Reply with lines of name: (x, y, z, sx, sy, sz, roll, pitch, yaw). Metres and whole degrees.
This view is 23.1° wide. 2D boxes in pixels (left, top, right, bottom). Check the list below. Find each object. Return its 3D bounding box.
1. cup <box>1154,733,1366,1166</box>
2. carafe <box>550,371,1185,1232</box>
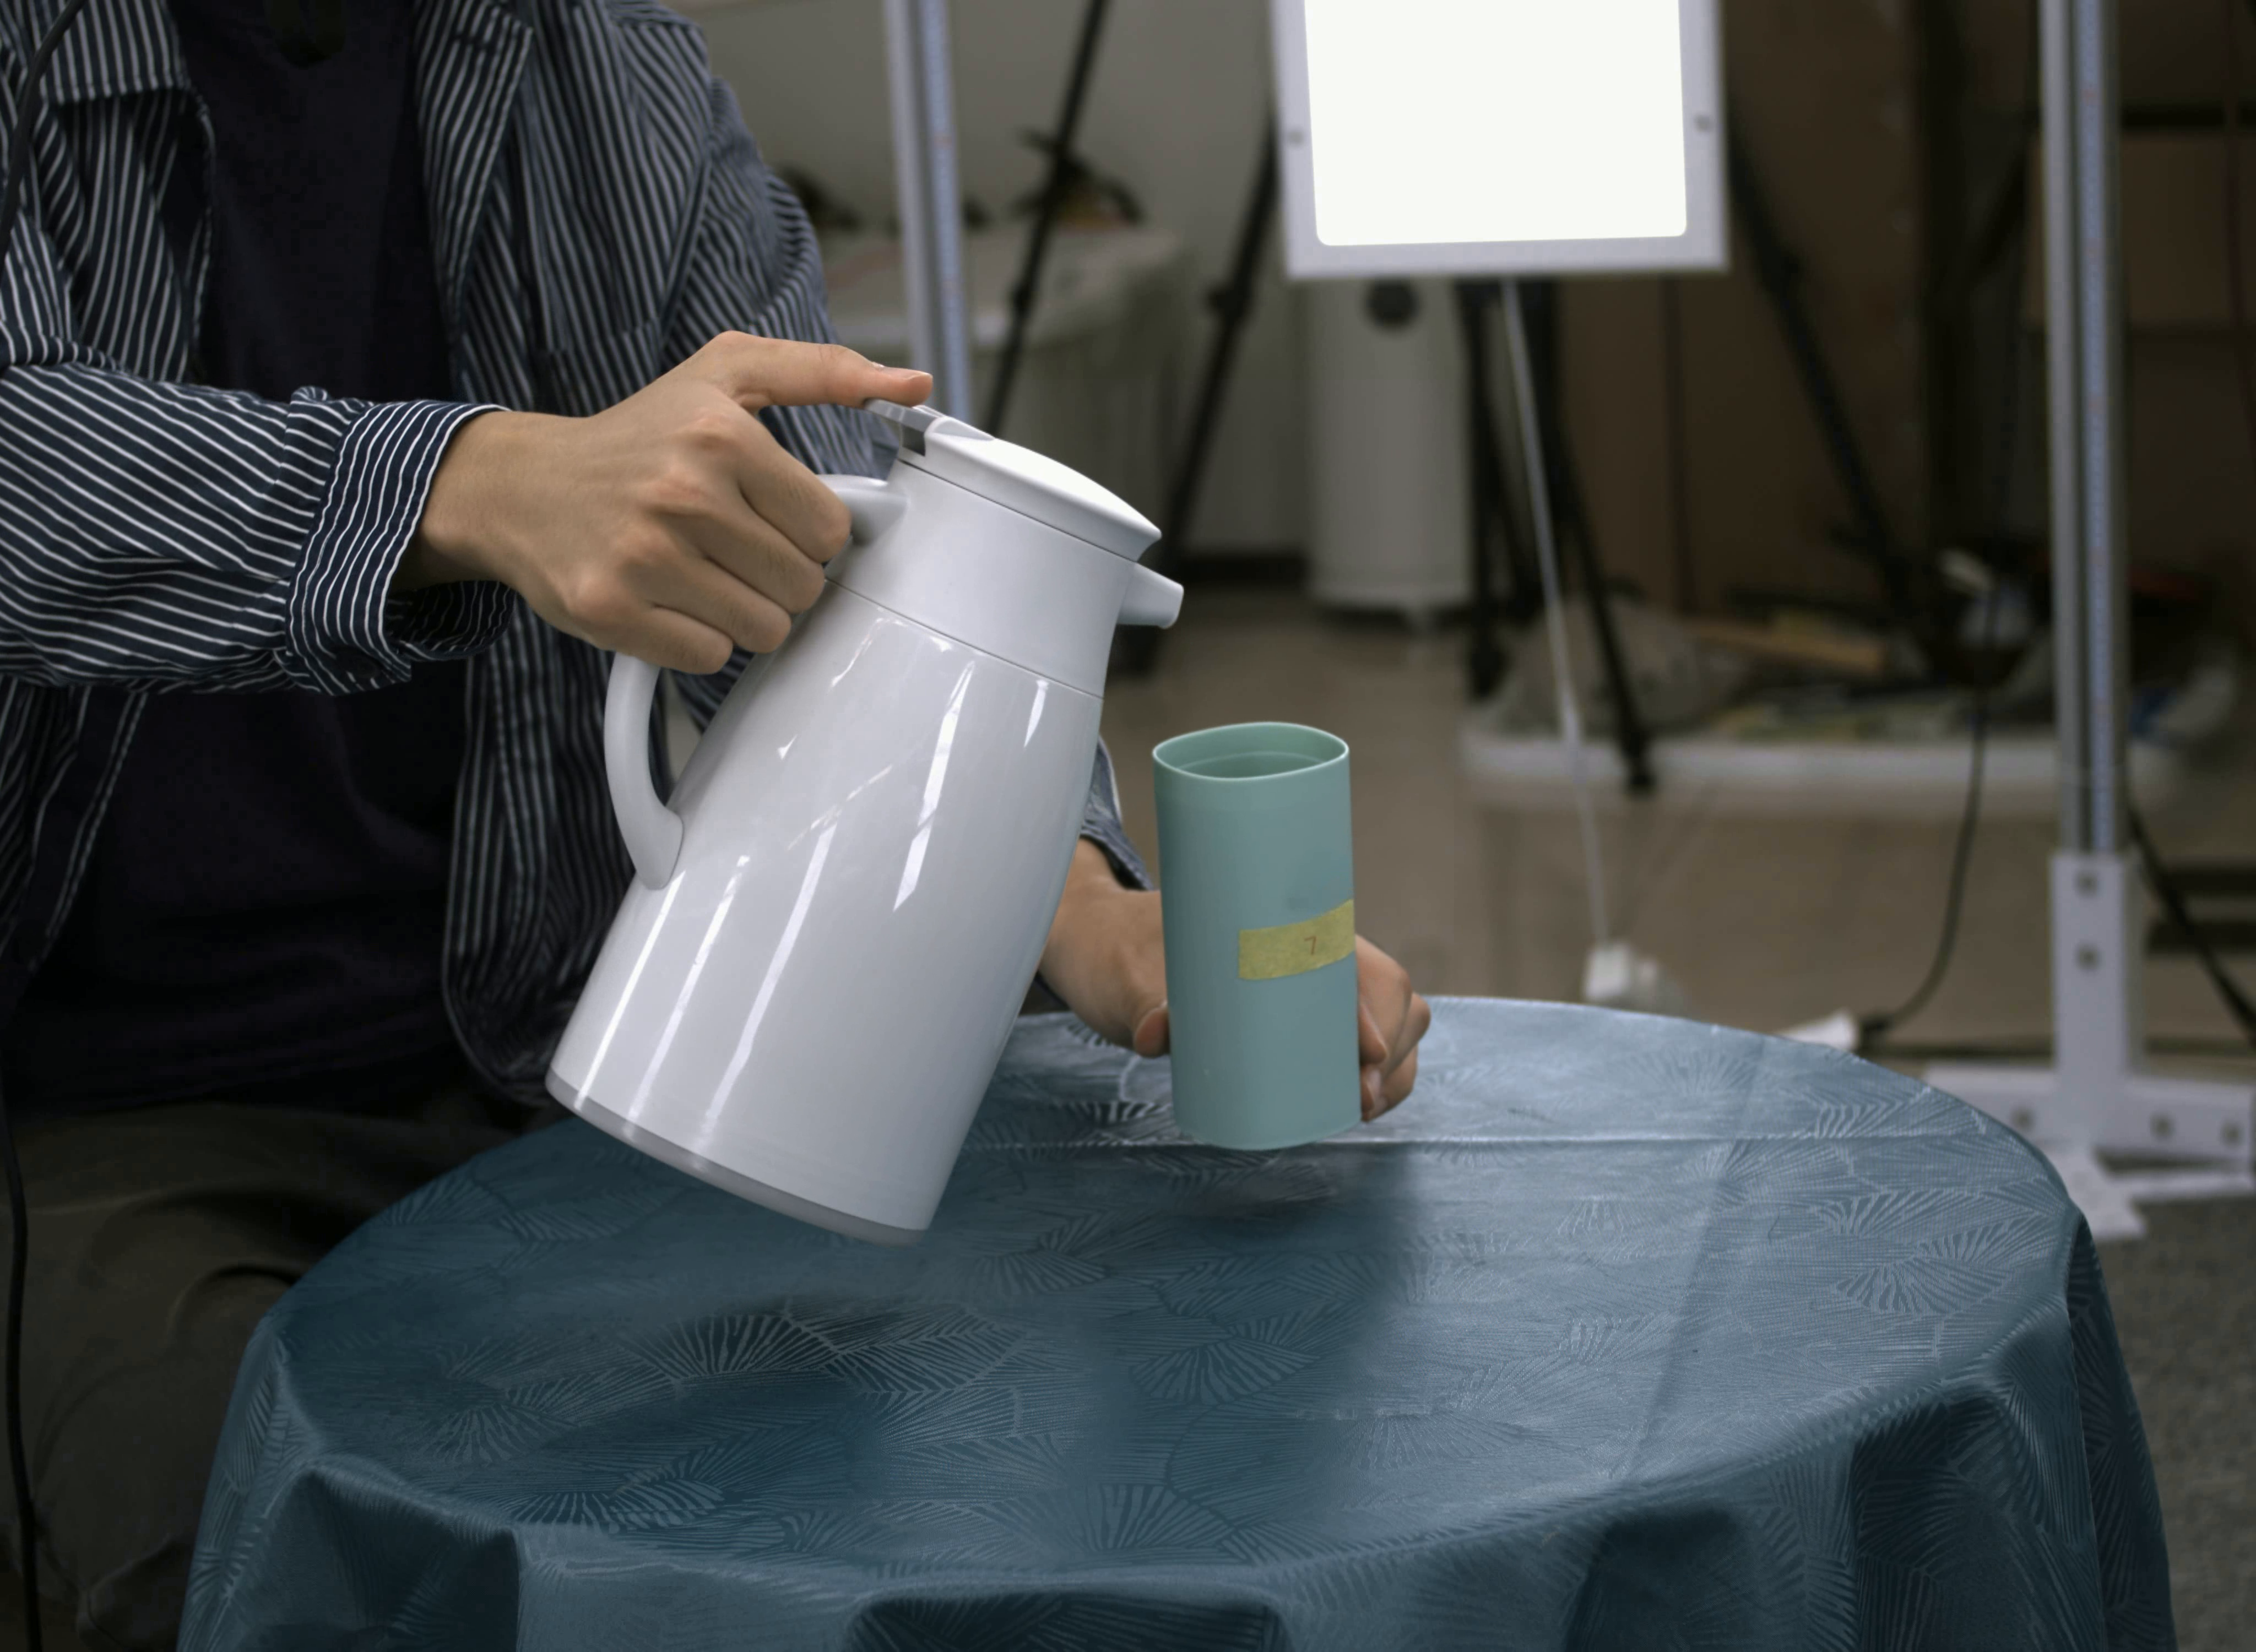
cup: (0.044, 0.040, 1.838, 0.066, 0.133, 0.066, -4, 17, 0)
carafe: (-0.090, -0.016, 1.740, 0.164, 0.250, 0.134, 21, 6, -27)
